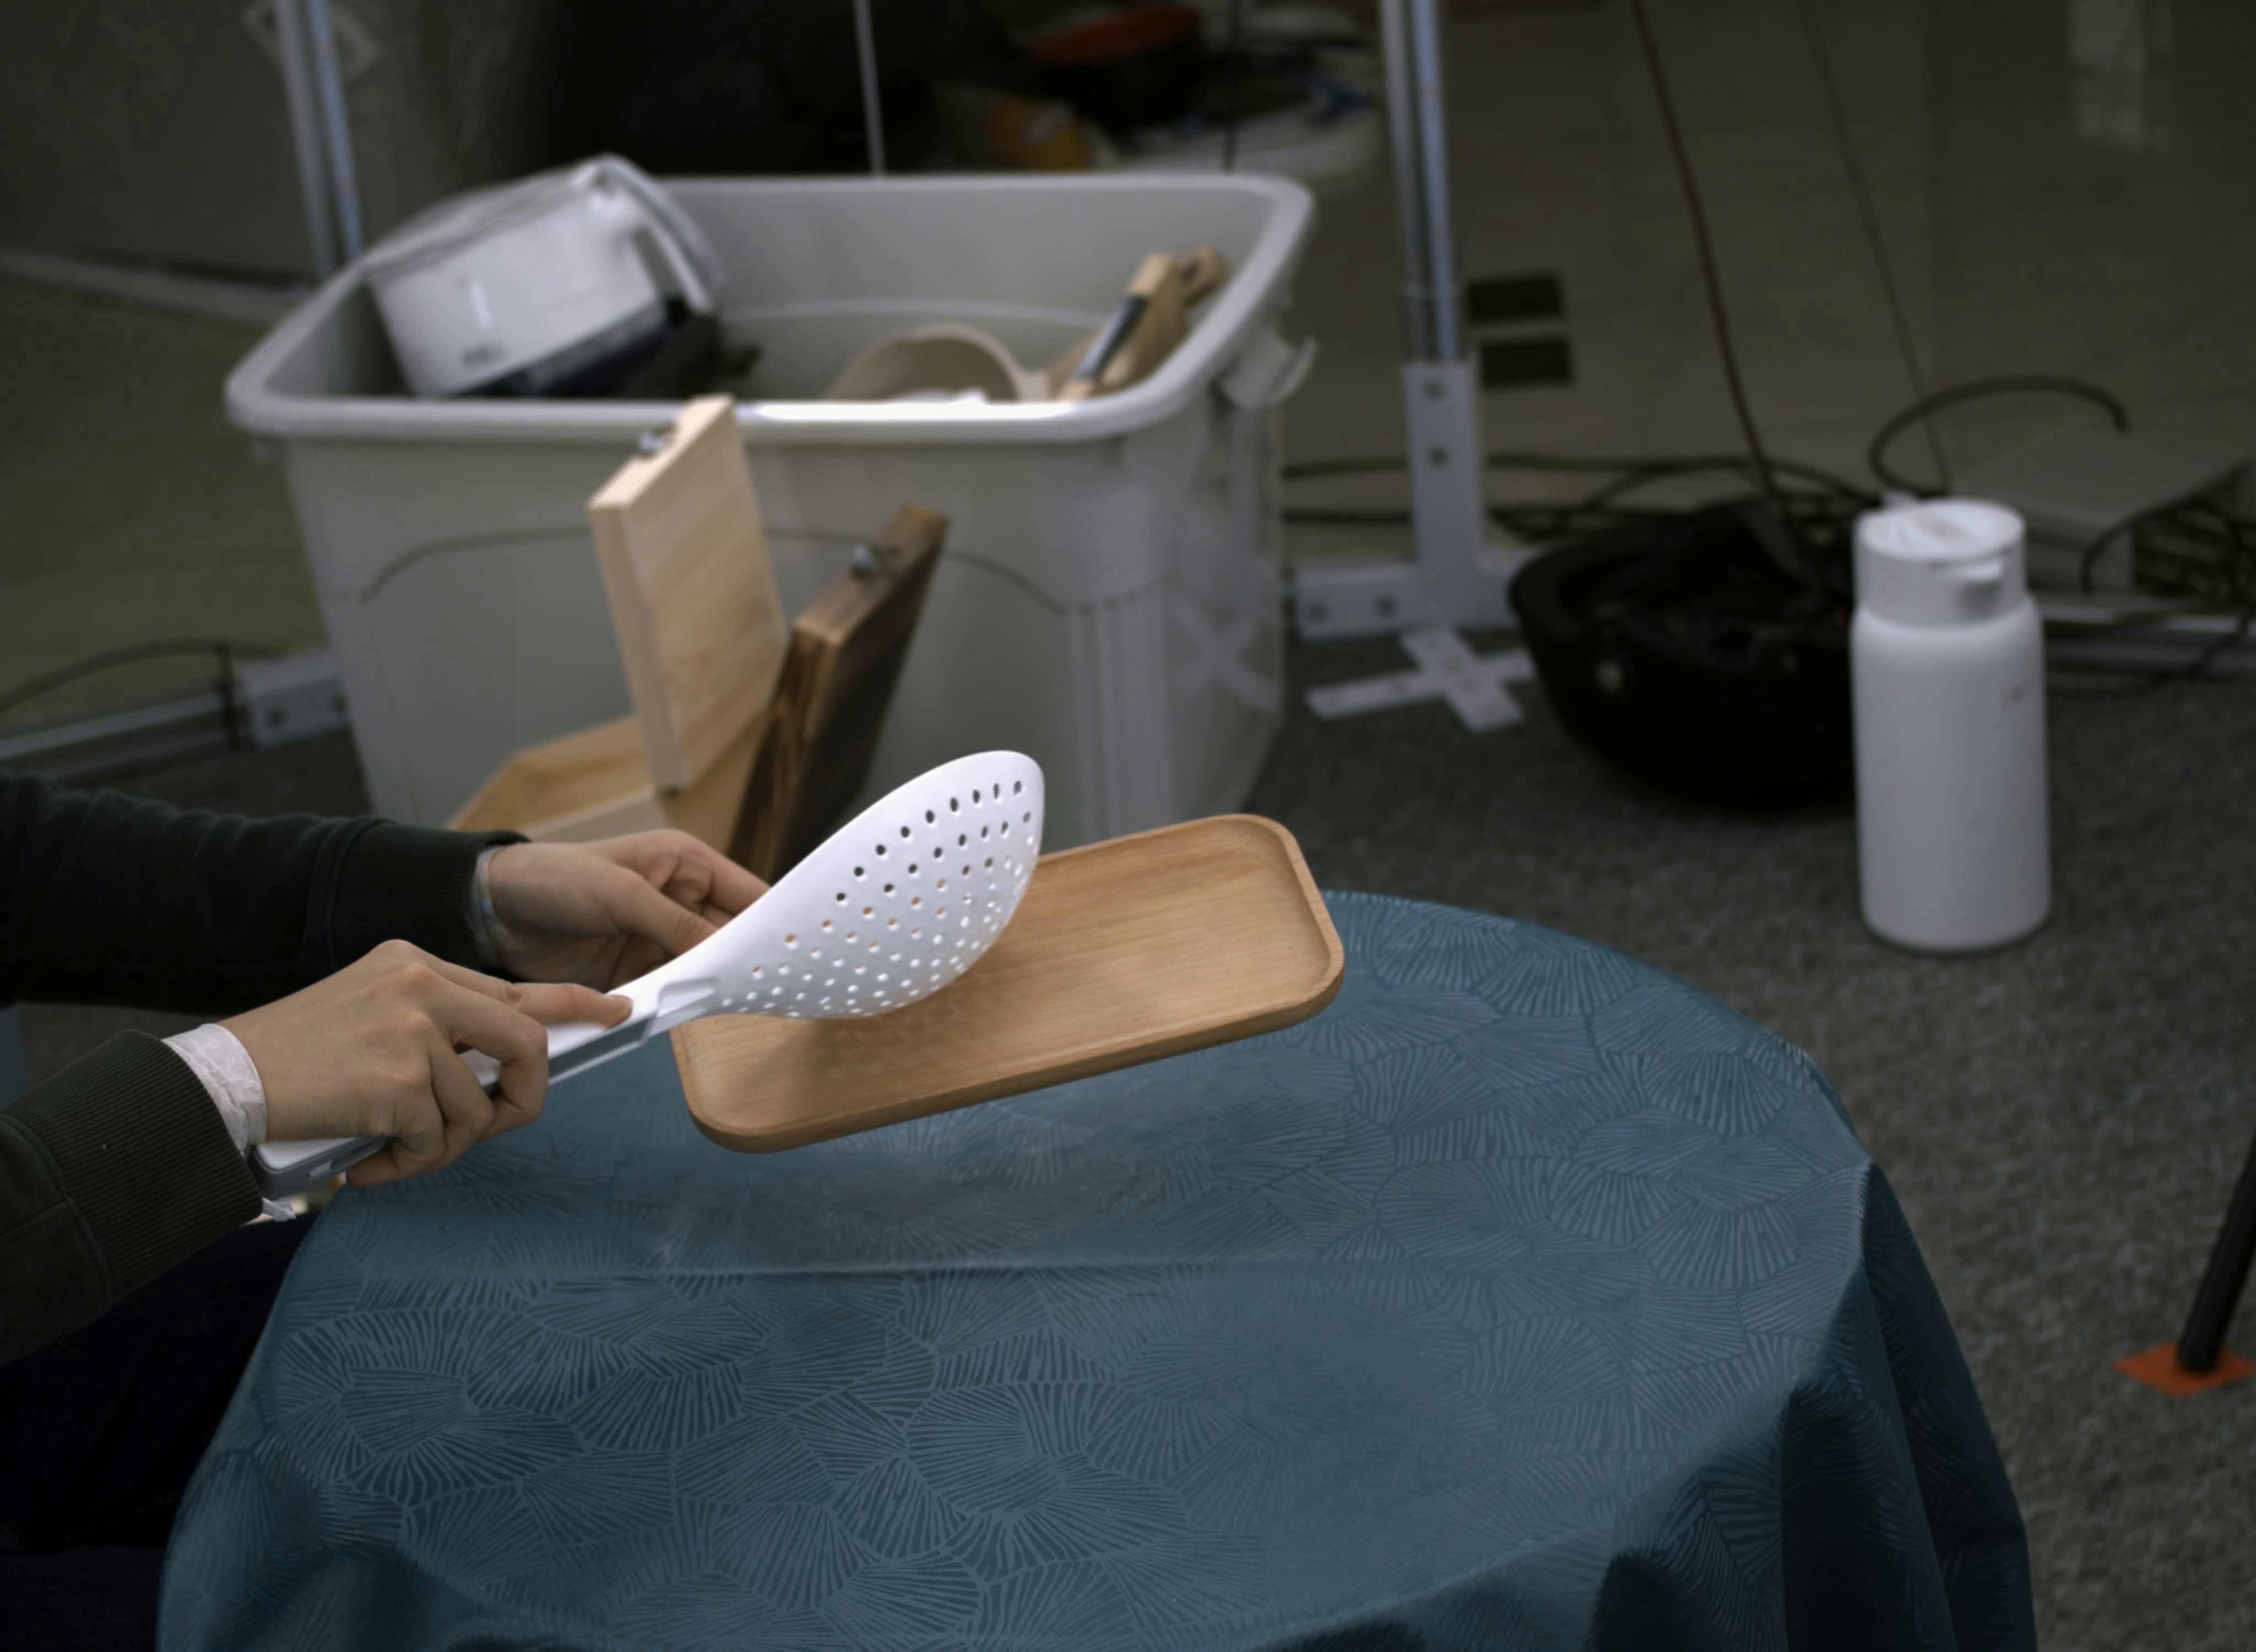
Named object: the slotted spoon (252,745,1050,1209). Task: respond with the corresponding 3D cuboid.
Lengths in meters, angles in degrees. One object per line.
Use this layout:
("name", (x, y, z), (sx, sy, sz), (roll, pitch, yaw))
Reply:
("slotted spoon", (-0.161, 0.061, 2.013), (0.347, 0.138, 0.045), (-19, 59, -32))

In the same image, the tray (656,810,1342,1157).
("tray", (-0.049, 0.059, 2.125), (0.250, 0.023, 0.128), (-14, 36, -5))
